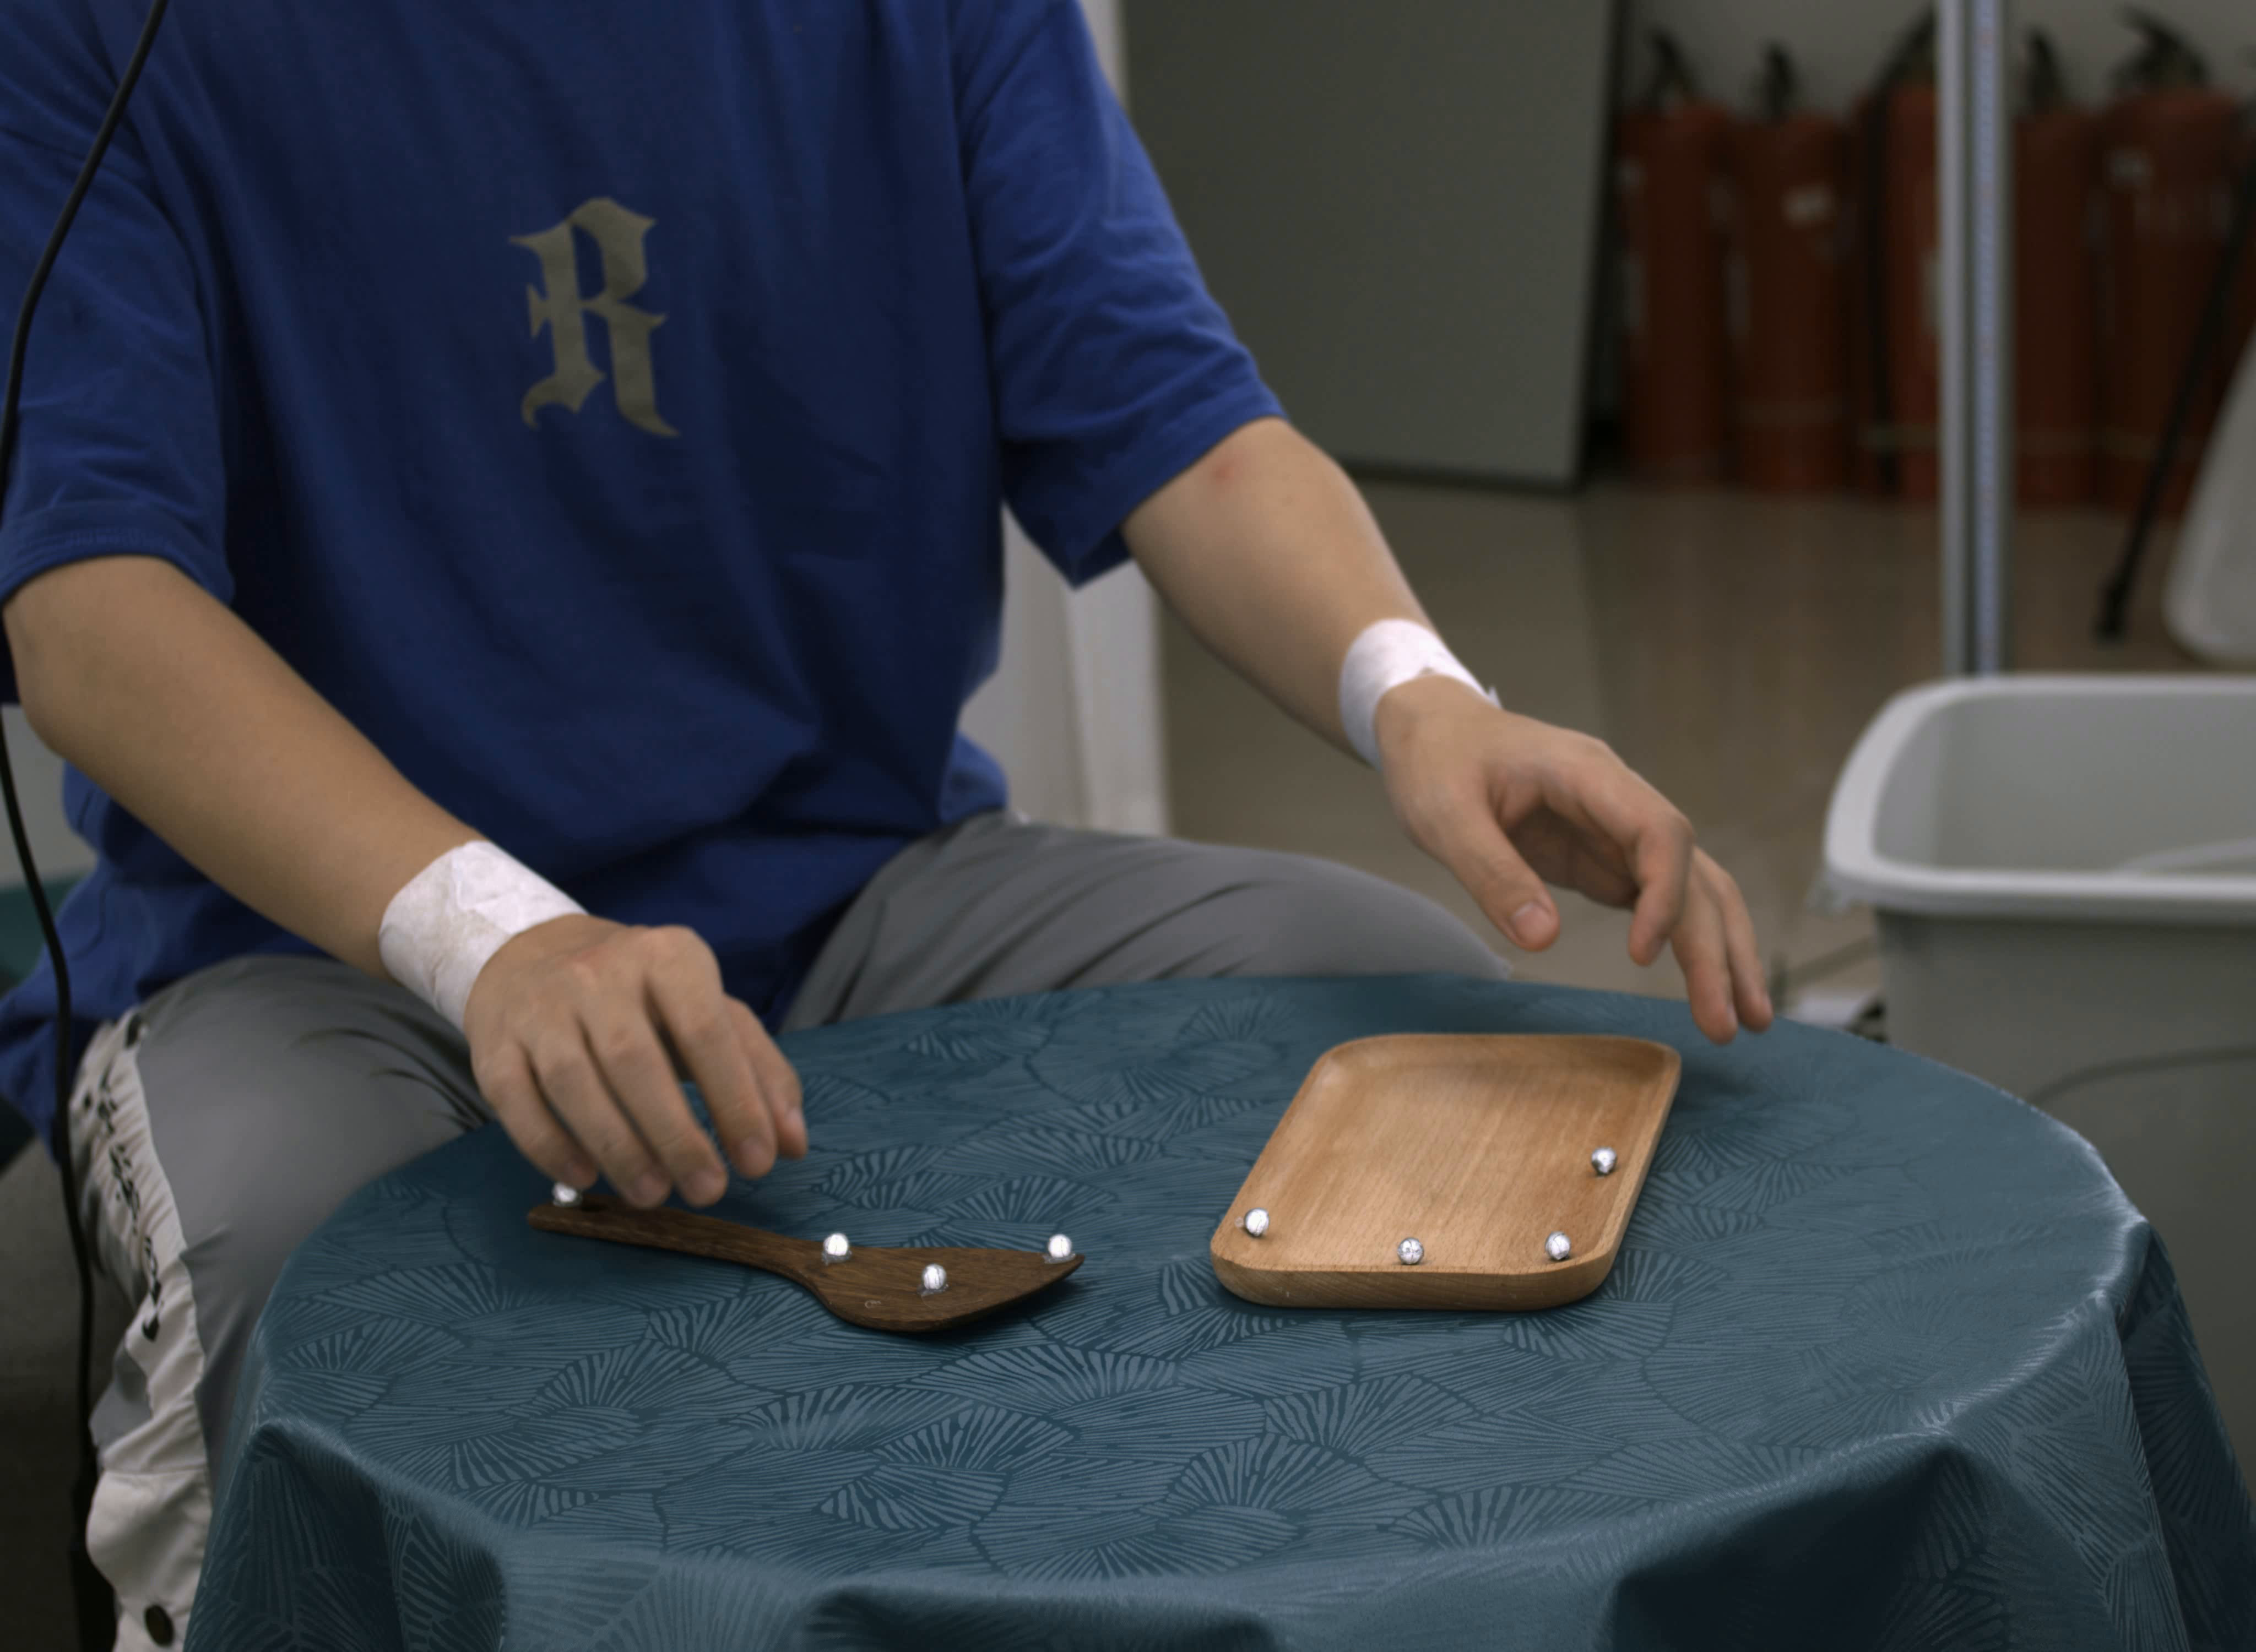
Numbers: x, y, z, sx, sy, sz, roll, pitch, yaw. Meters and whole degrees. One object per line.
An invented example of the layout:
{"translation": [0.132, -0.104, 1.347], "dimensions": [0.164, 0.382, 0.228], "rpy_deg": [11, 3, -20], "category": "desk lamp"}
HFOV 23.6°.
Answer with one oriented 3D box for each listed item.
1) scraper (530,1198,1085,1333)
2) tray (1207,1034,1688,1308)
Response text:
{"translation": [-0.110, 0.137, 1.719], "dimensions": [0.213, 0.011, 0.074], "rpy_deg": [7, 17, 40], "category": "scraper"}
{"translation": [0.107, 0.110, 1.750], "dimensions": [0.130, 0.023, 0.249], "rpy_deg": [2, 14, 13], "category": "tray"}
